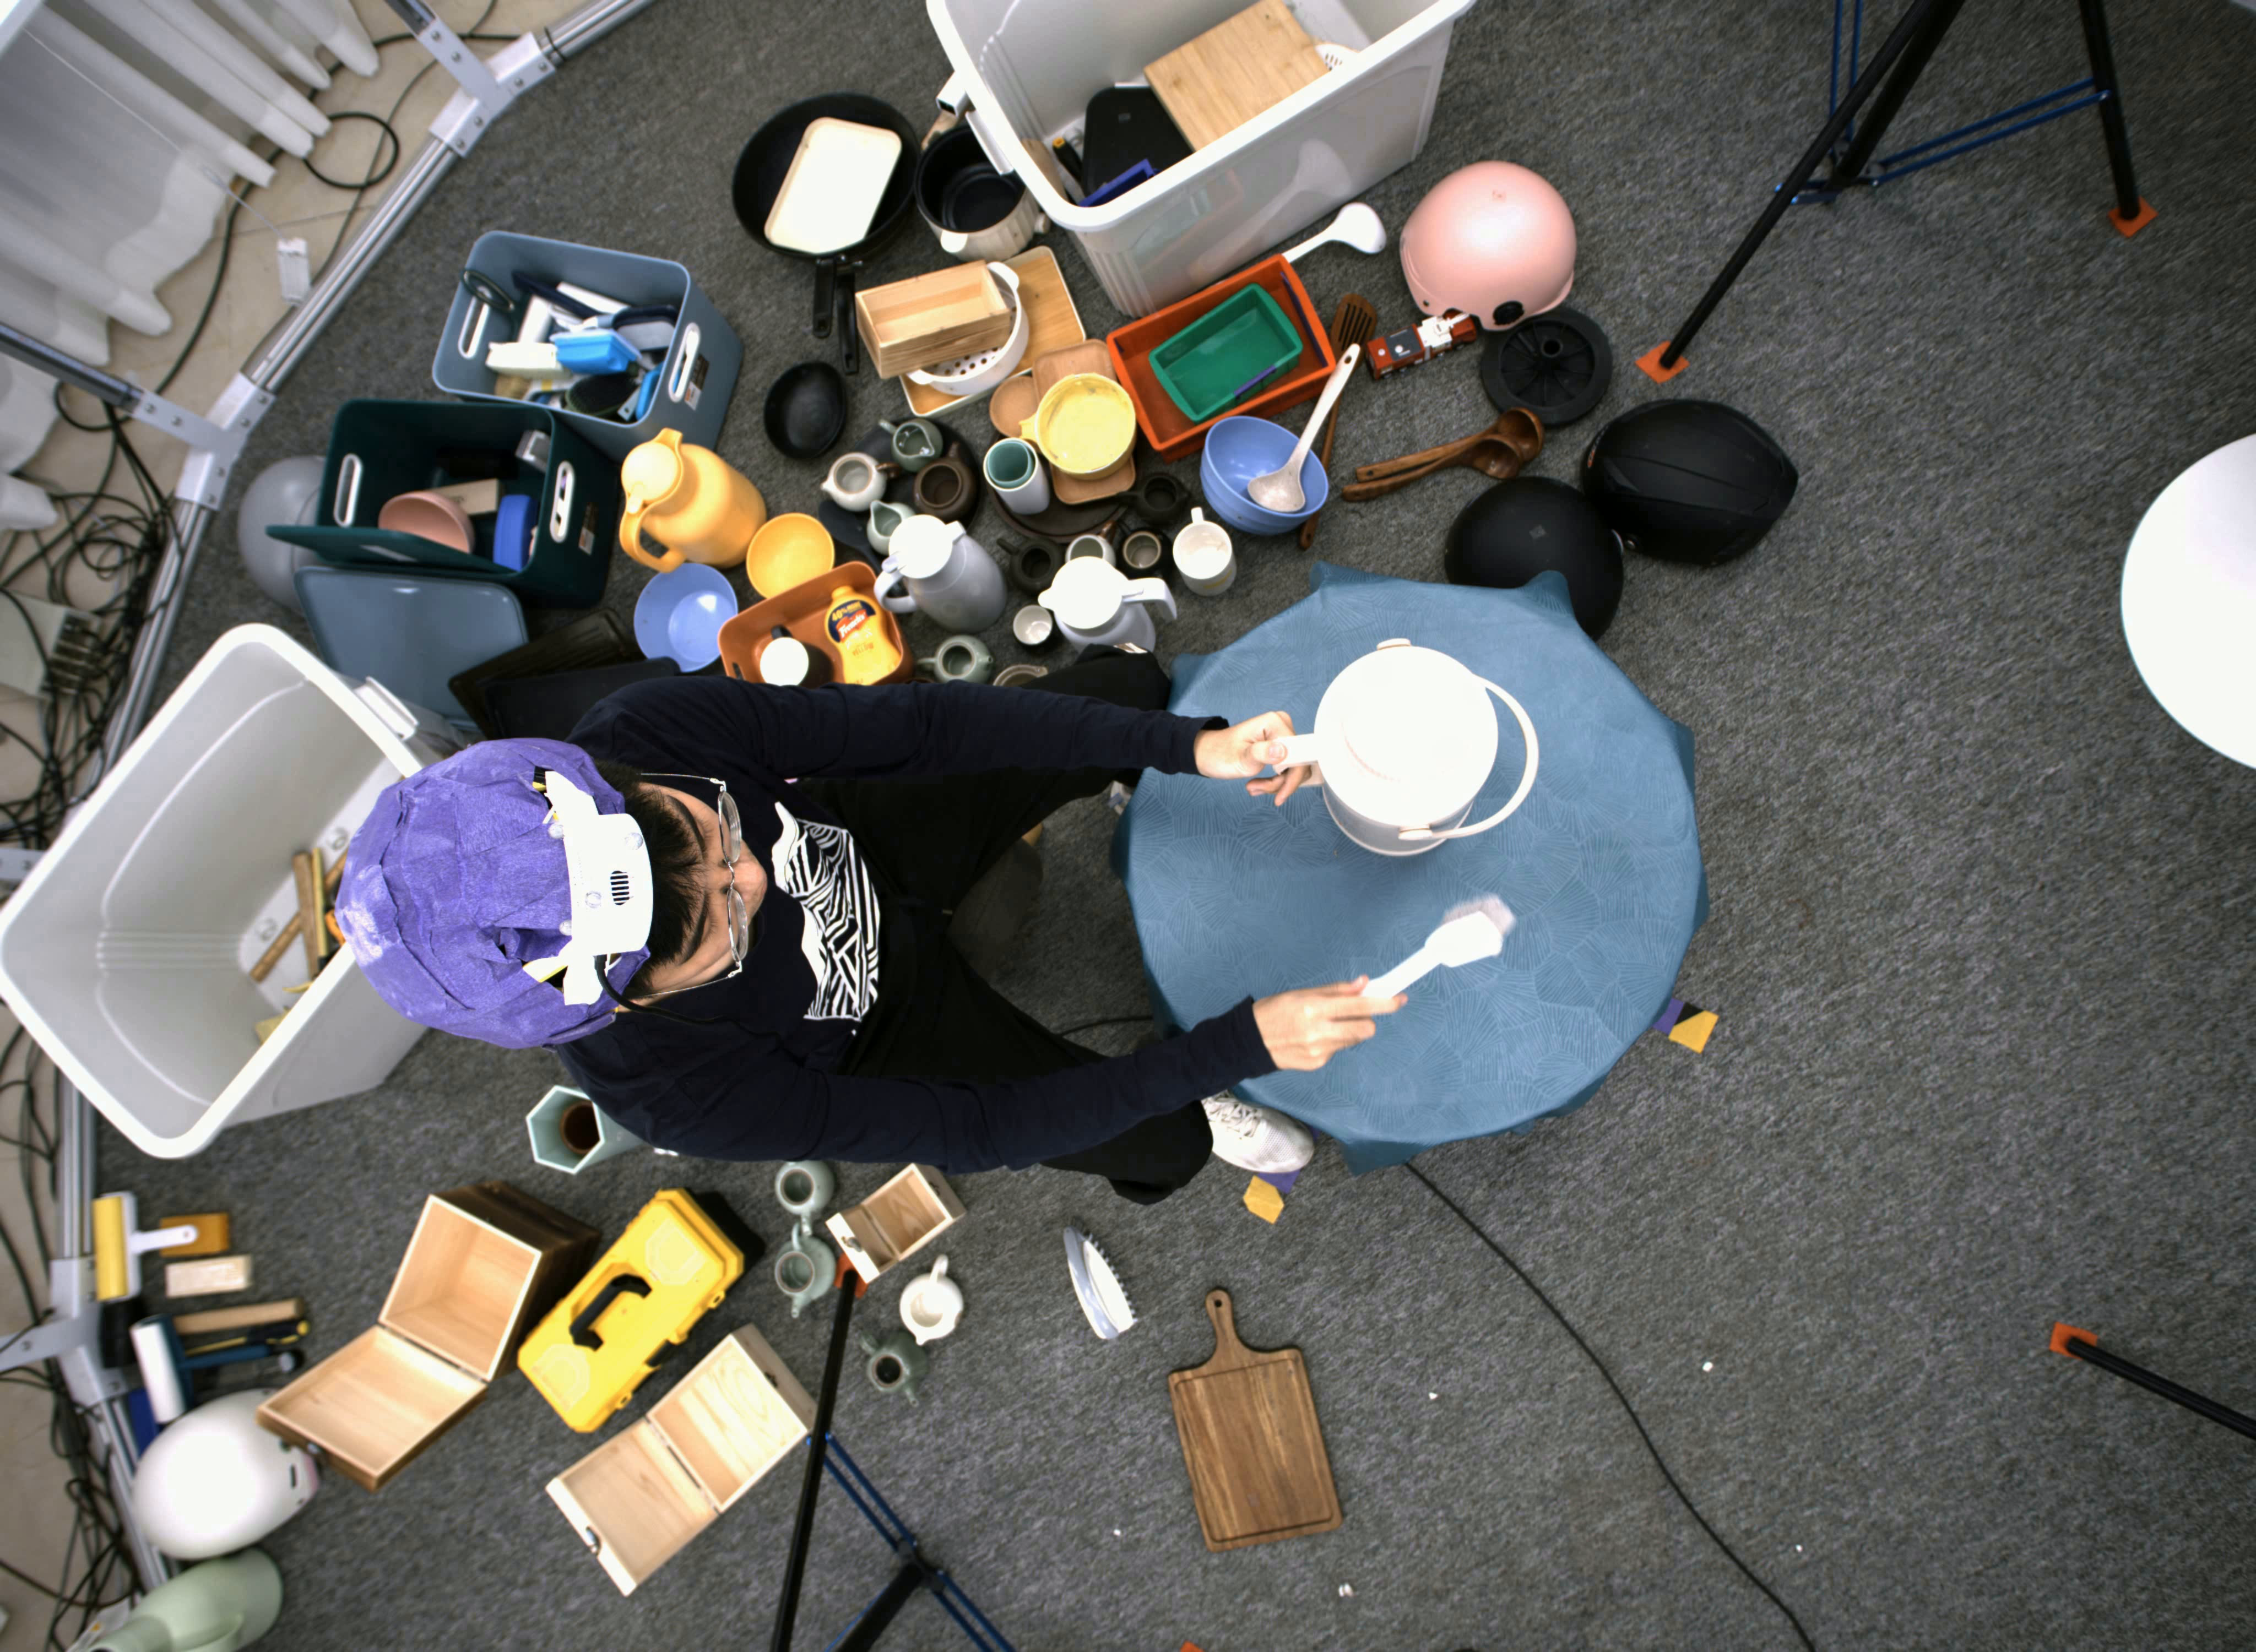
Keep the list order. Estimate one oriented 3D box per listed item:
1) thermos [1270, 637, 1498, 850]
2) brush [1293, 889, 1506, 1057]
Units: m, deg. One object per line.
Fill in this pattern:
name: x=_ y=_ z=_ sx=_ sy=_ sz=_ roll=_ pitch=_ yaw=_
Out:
thermos: x=0.240 y=-0.070 z=1.270 sx=0.208 sy=0.406 sz=0.174 roll=-7 pitch=85 yaw=10
brush: x=0.236 y=0.130 z=1.232 sx=0.034 sy=0.049 sz=0.249 roll=38 pitch=127 yaw=-13
